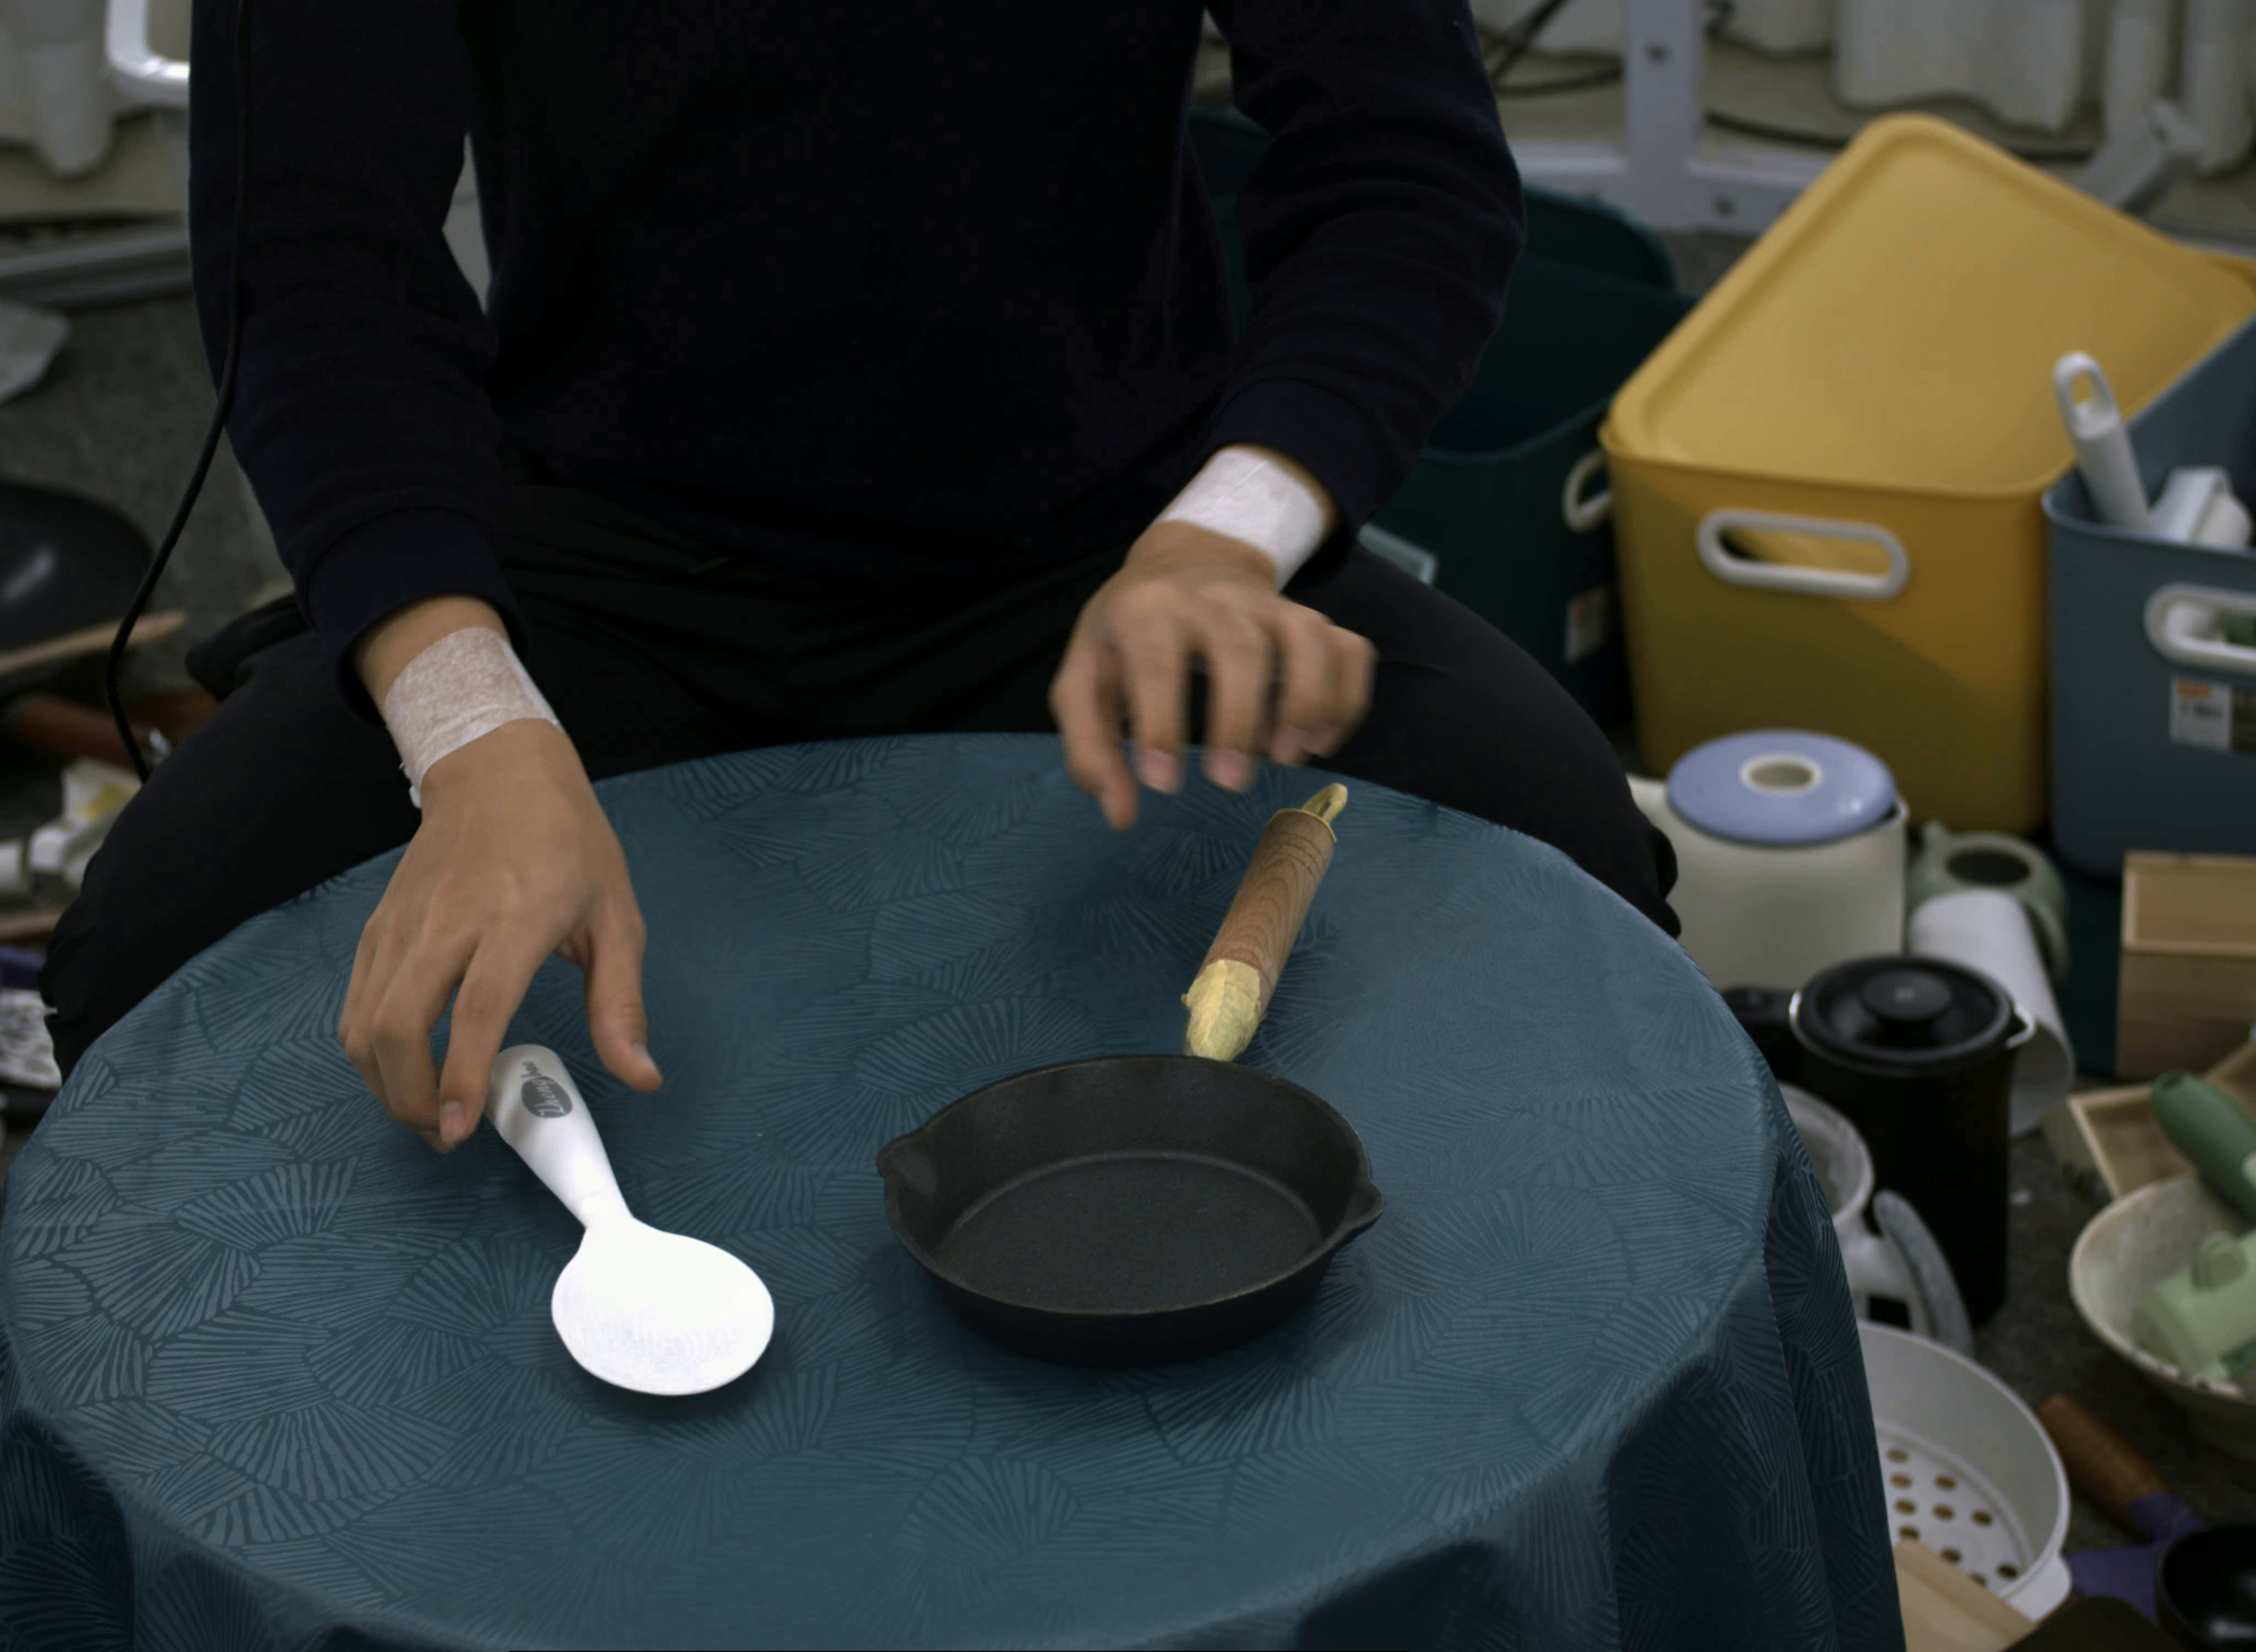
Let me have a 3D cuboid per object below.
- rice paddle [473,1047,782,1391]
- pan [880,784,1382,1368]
[{"bbox_3d":[-0.169,0.130,1.832,0.069,0.029,0.207,-15,29,-18],"label":"rice paddle"},{"bbox_3d":[0.026,0.081,1.884,0.168,0.049,0.330,6,30,17],"label":"pan"}]
